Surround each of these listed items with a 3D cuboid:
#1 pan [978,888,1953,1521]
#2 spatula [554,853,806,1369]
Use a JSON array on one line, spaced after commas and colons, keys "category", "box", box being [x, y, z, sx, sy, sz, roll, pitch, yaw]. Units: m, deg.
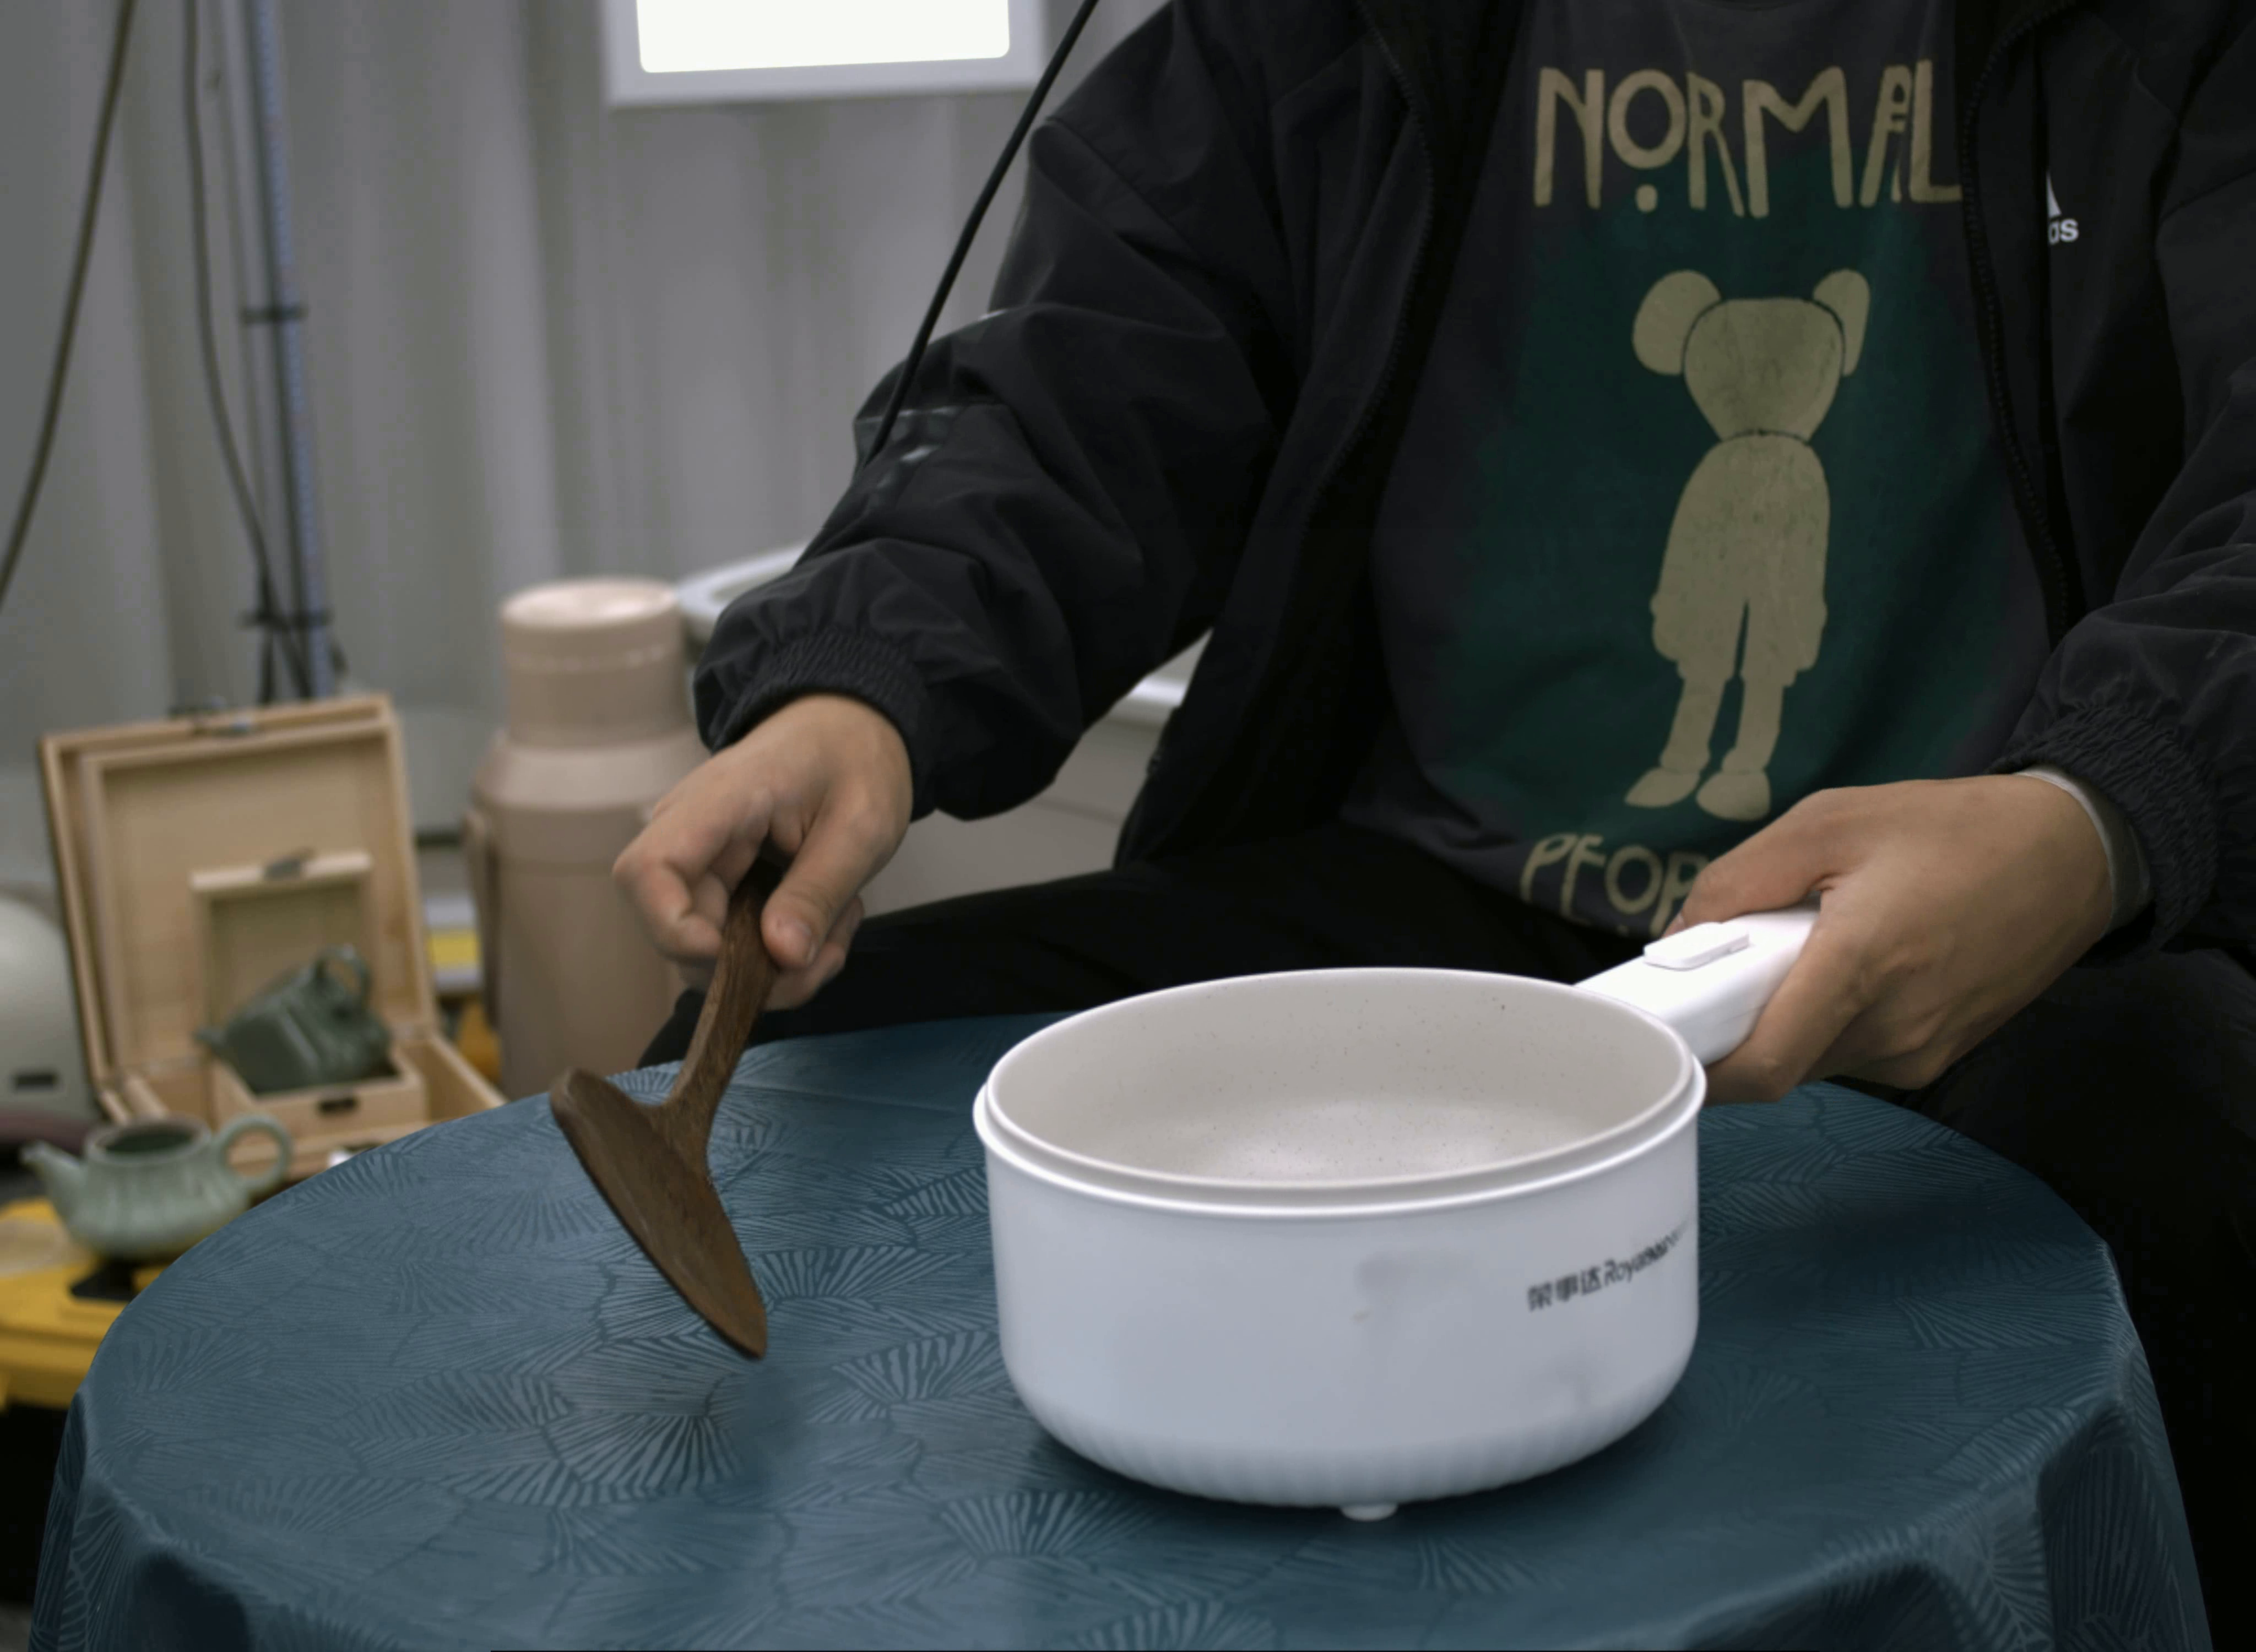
[{"category": "pan", "box": [0.114, 0.101, 1.559, 0.202, 0.102, 0.354, 10, 18, 43]}, {"category": "spatula", "box": [-0.126, 0.069, 1.674, 0.016, 0.095, 0.388, -36, 11, 11]}]
